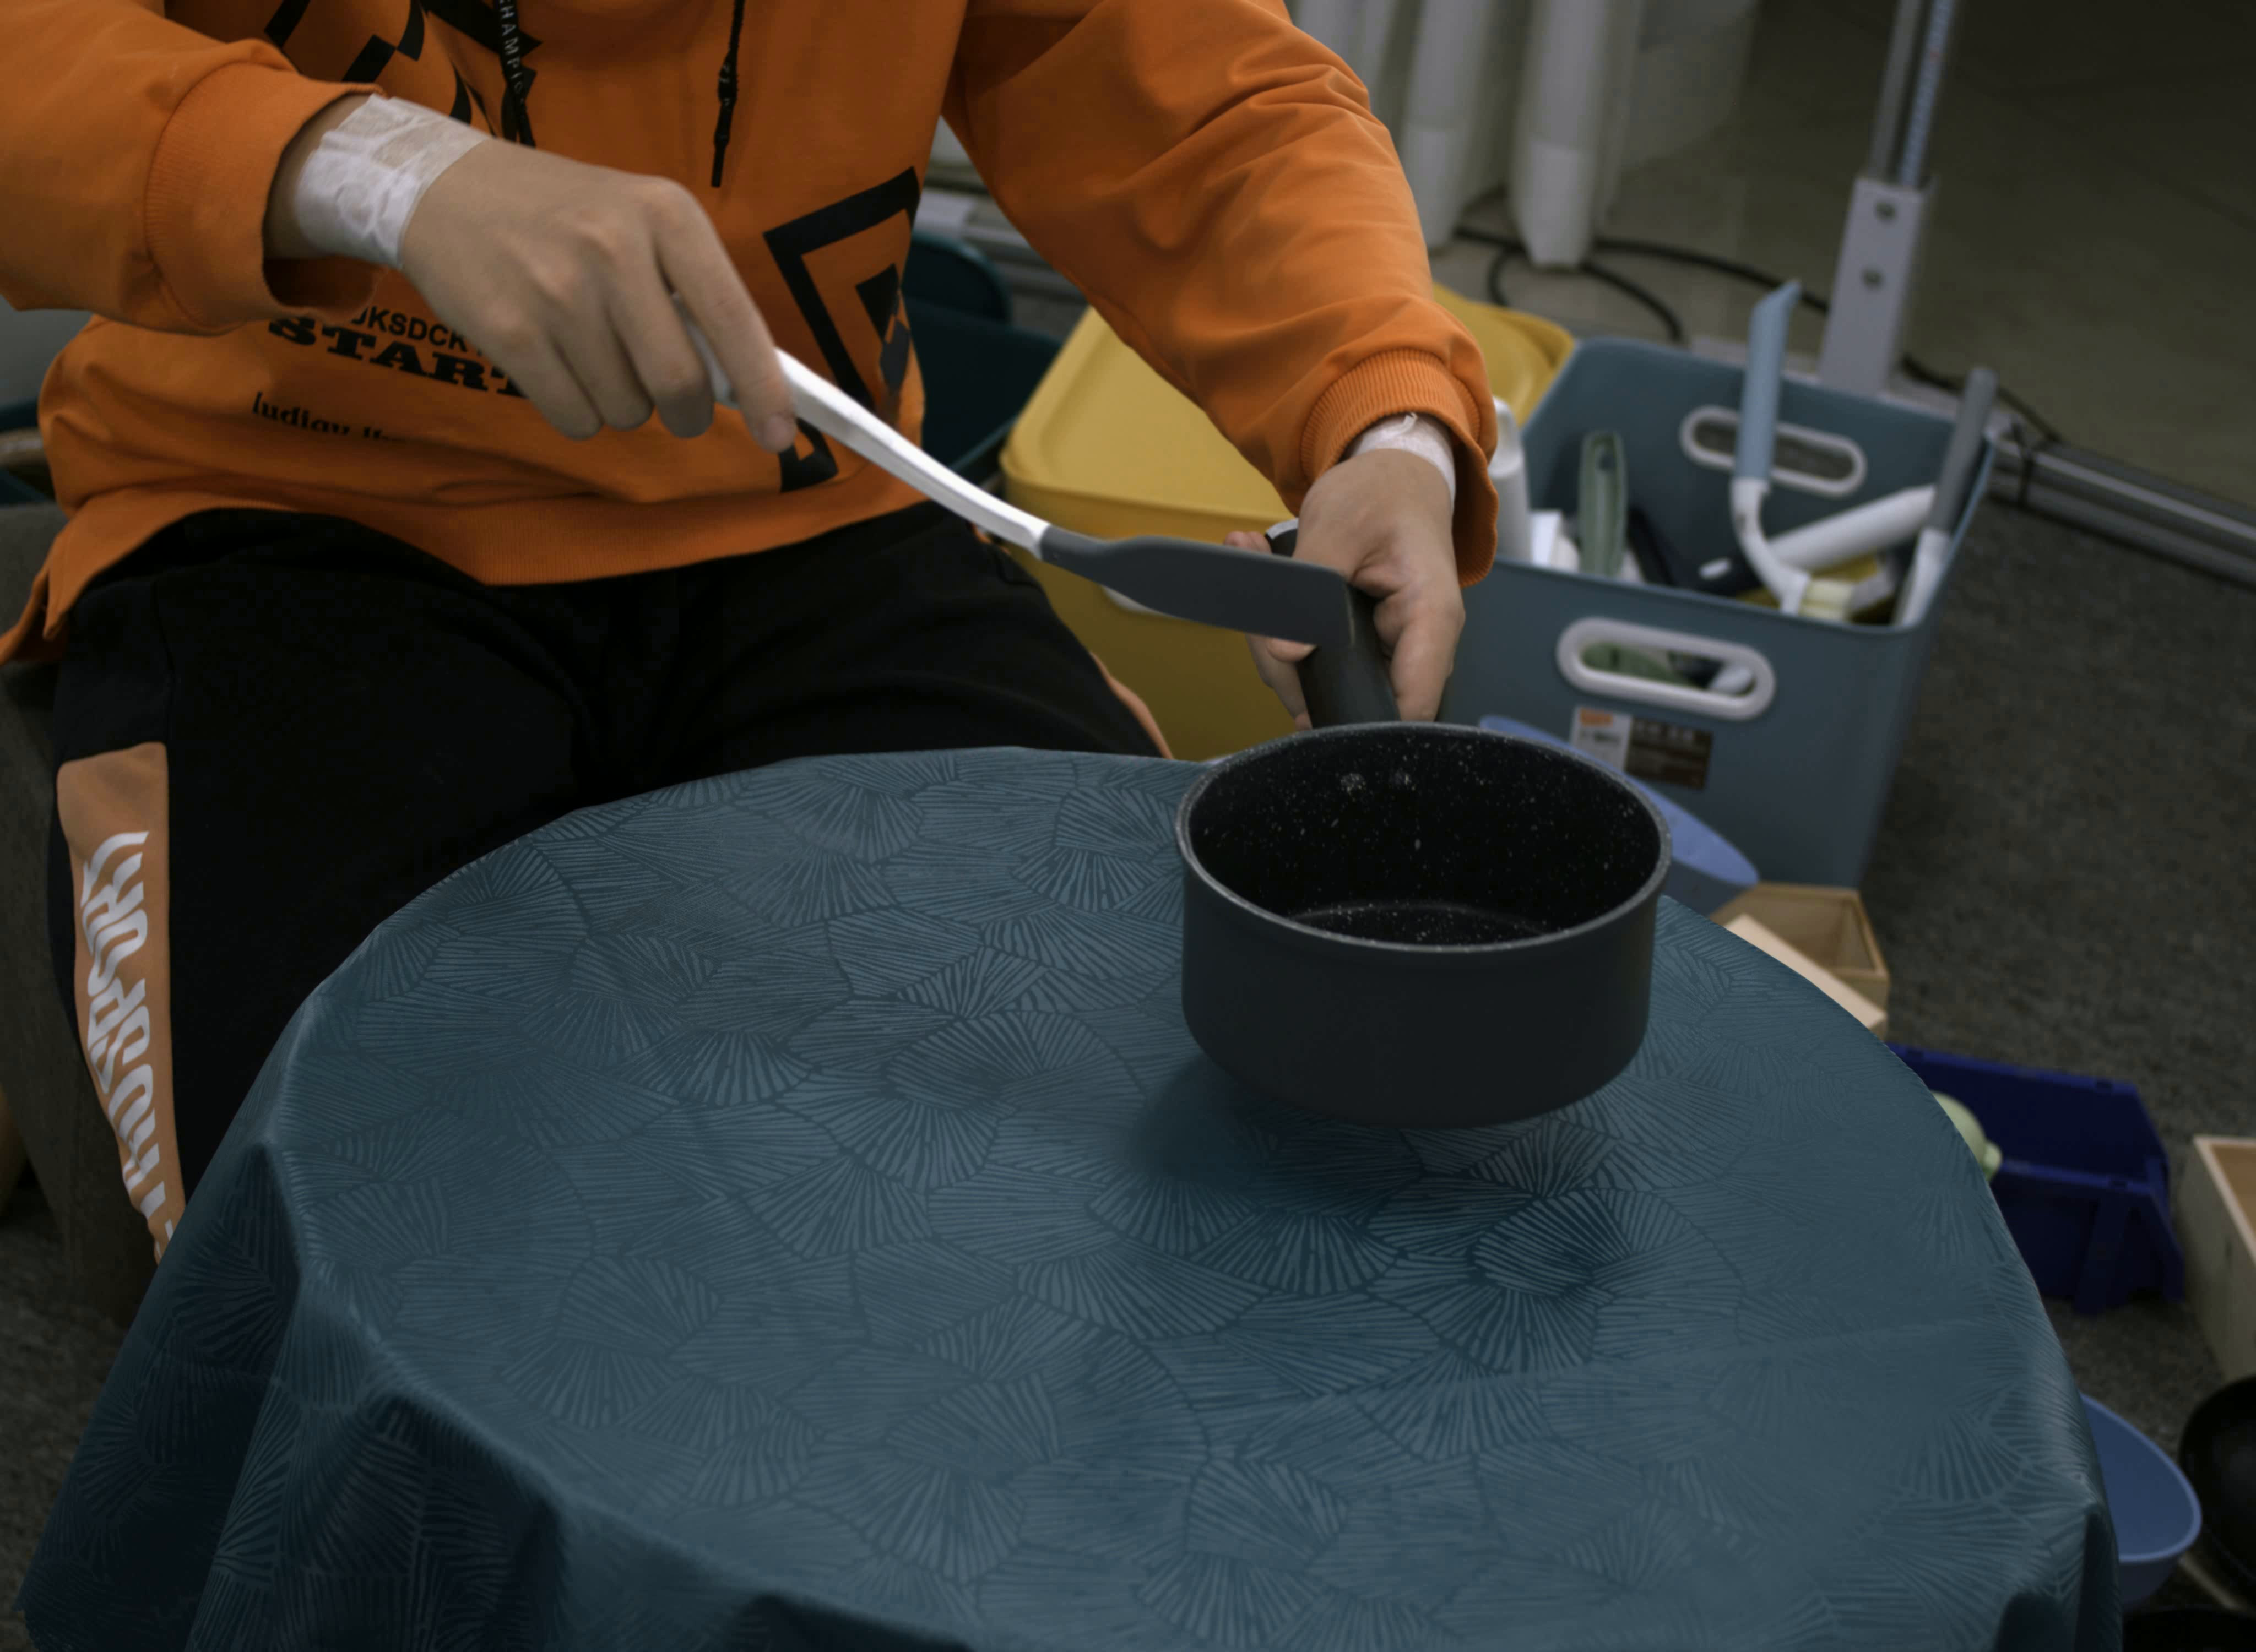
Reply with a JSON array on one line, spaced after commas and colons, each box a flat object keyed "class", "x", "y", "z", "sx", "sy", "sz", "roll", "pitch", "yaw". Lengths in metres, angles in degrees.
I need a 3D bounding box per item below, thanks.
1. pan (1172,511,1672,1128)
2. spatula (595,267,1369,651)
[{"class": "pan", "x": 0.092, "y": -0.006, "z": 1.910, "sx": 0.171, "sy": 0.086, "sz": 0.331, "roll": -1, "pitch": 28, "yaw": -5}, {"class": "spatula", "x": -0.050, "y": -0.119, "z": 1.788, "sx": 0.288, "sy": 0.058, "sz": 0.032, "roll": 25, "pitch": 64, "yaw": 16}]
